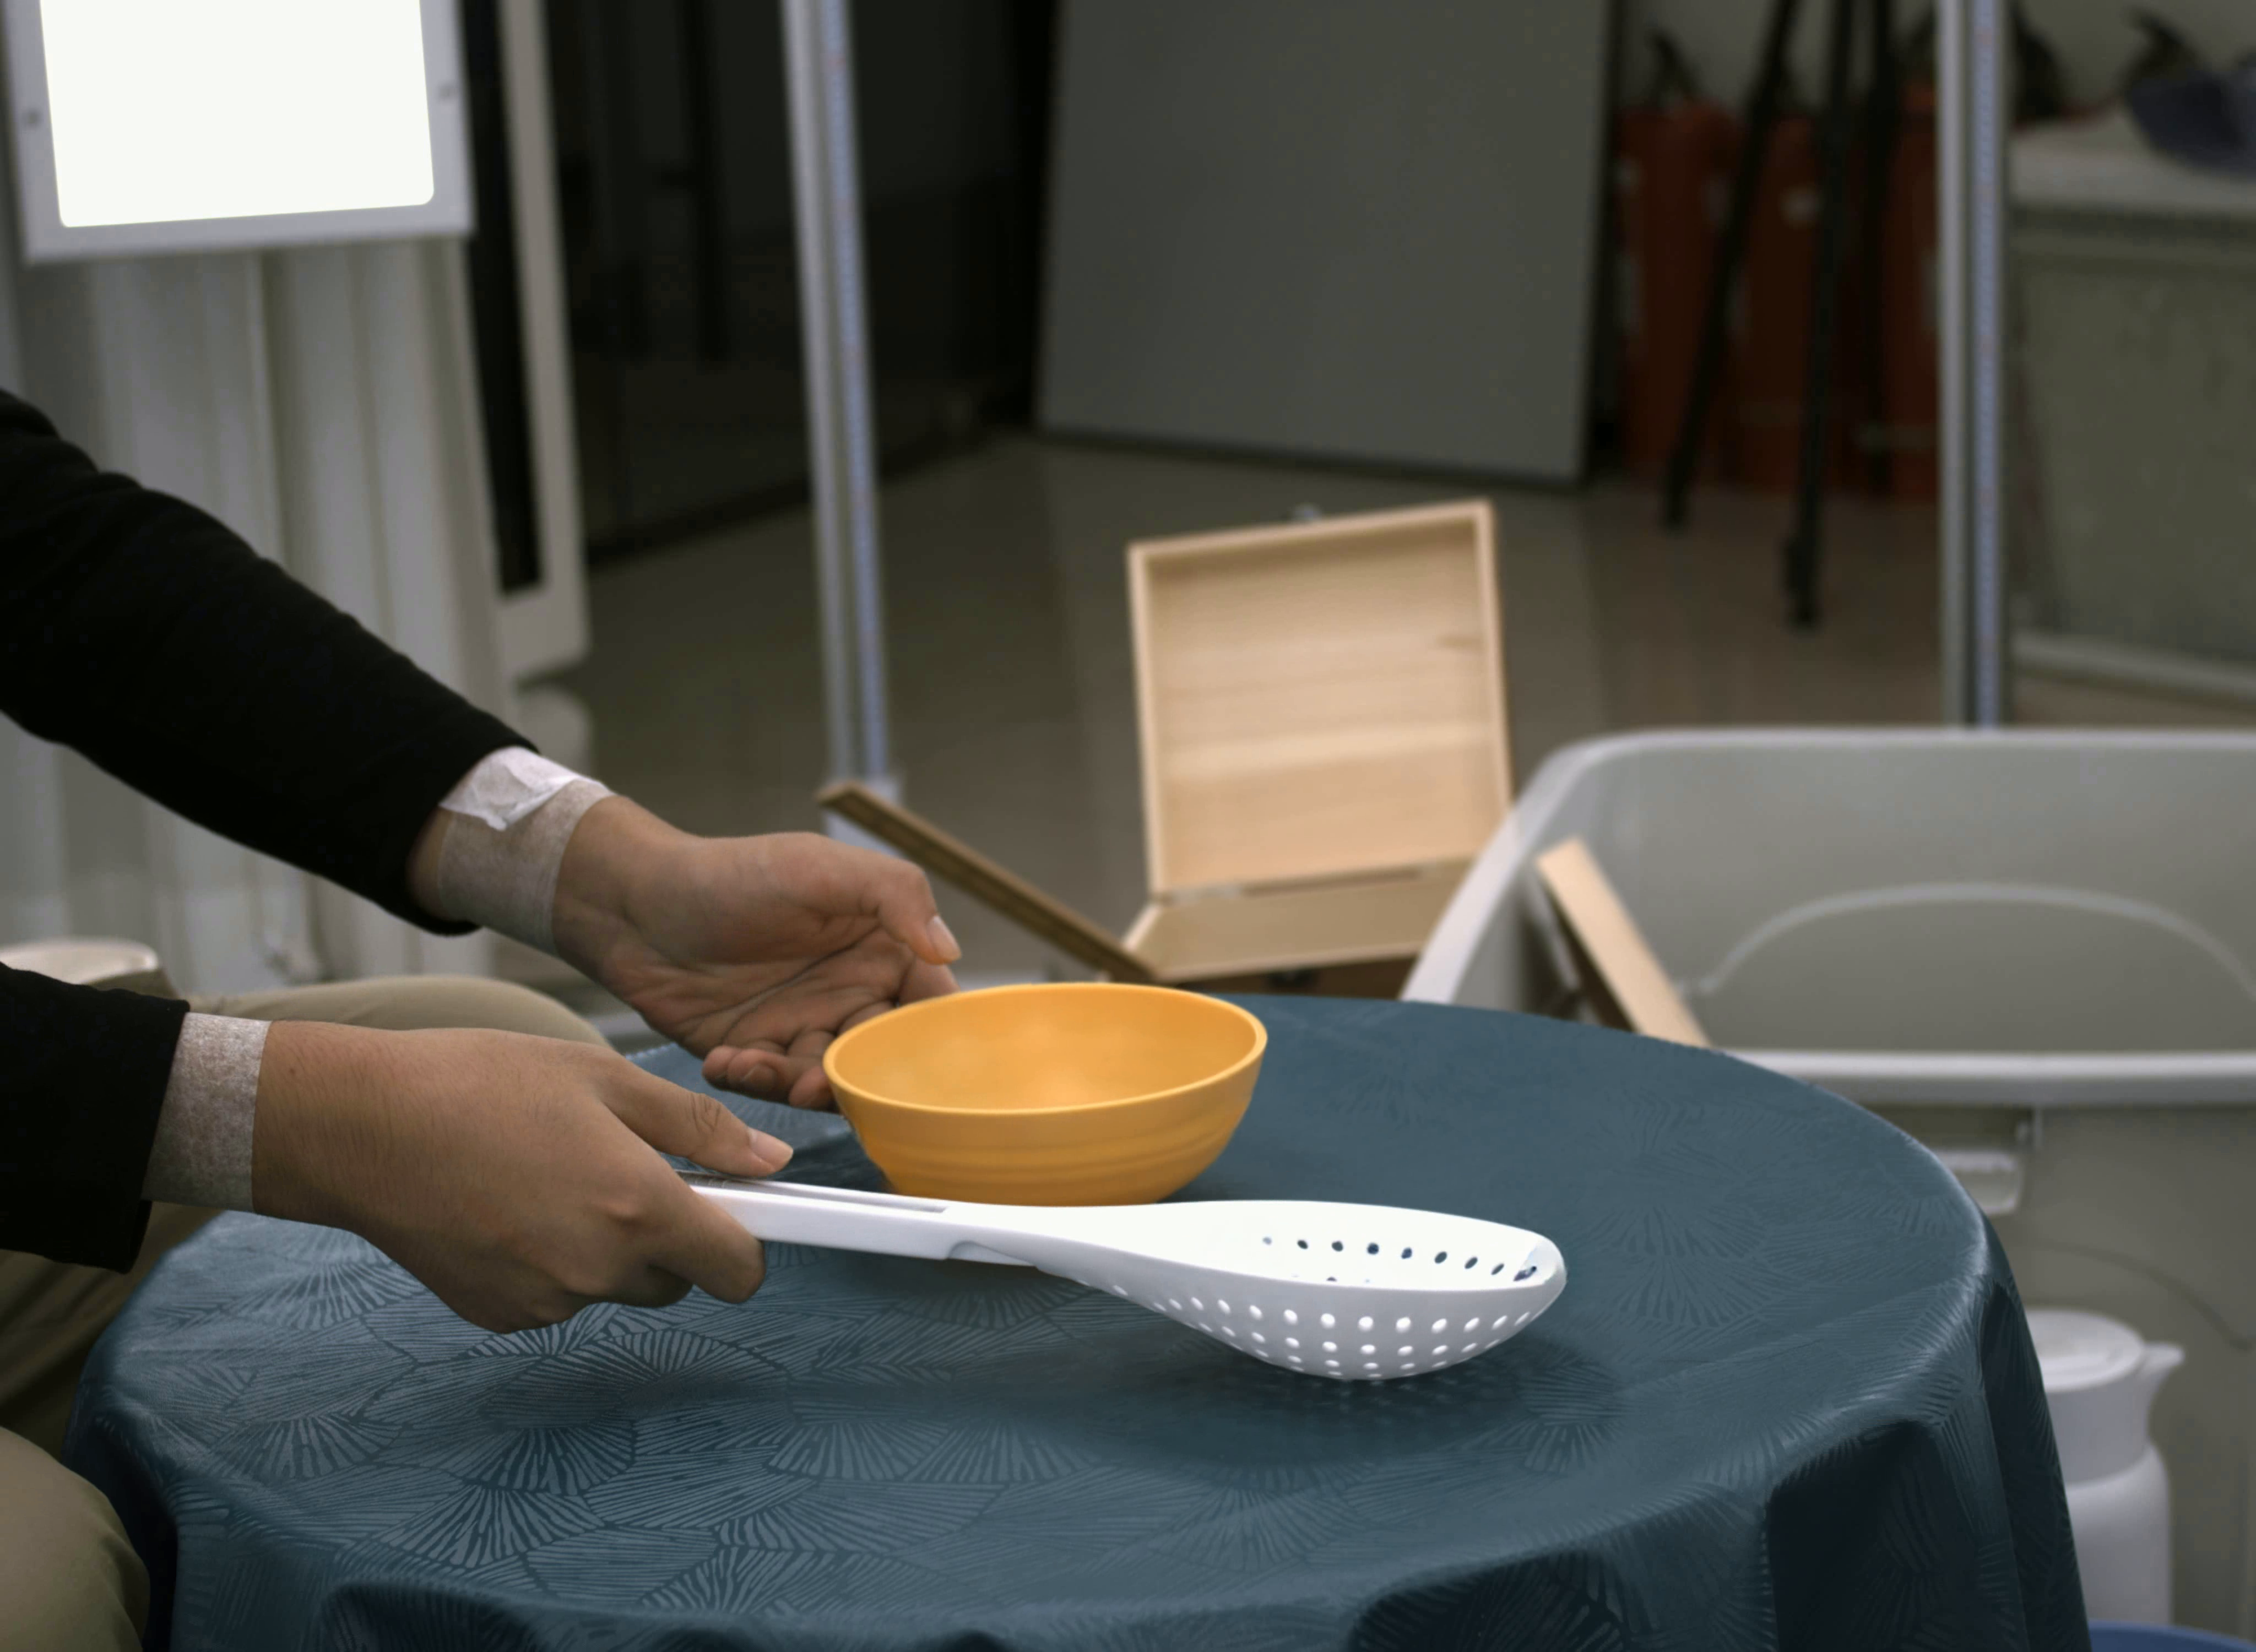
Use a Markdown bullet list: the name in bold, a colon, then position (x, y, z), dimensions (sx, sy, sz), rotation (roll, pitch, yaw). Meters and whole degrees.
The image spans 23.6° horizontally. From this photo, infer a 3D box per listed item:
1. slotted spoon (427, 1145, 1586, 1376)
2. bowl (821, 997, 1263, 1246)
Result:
- **slotted spoon**: position (-0.038, 0.119, 1.597), dimensions (0.347, 0.046, 0.135), rotation (9, 6, 10)
- **bowl**: position (-0.027, 0.101, 1.744), dimensions (0.143, 0.061, 0.145), rotation (-3, 12, 0)
